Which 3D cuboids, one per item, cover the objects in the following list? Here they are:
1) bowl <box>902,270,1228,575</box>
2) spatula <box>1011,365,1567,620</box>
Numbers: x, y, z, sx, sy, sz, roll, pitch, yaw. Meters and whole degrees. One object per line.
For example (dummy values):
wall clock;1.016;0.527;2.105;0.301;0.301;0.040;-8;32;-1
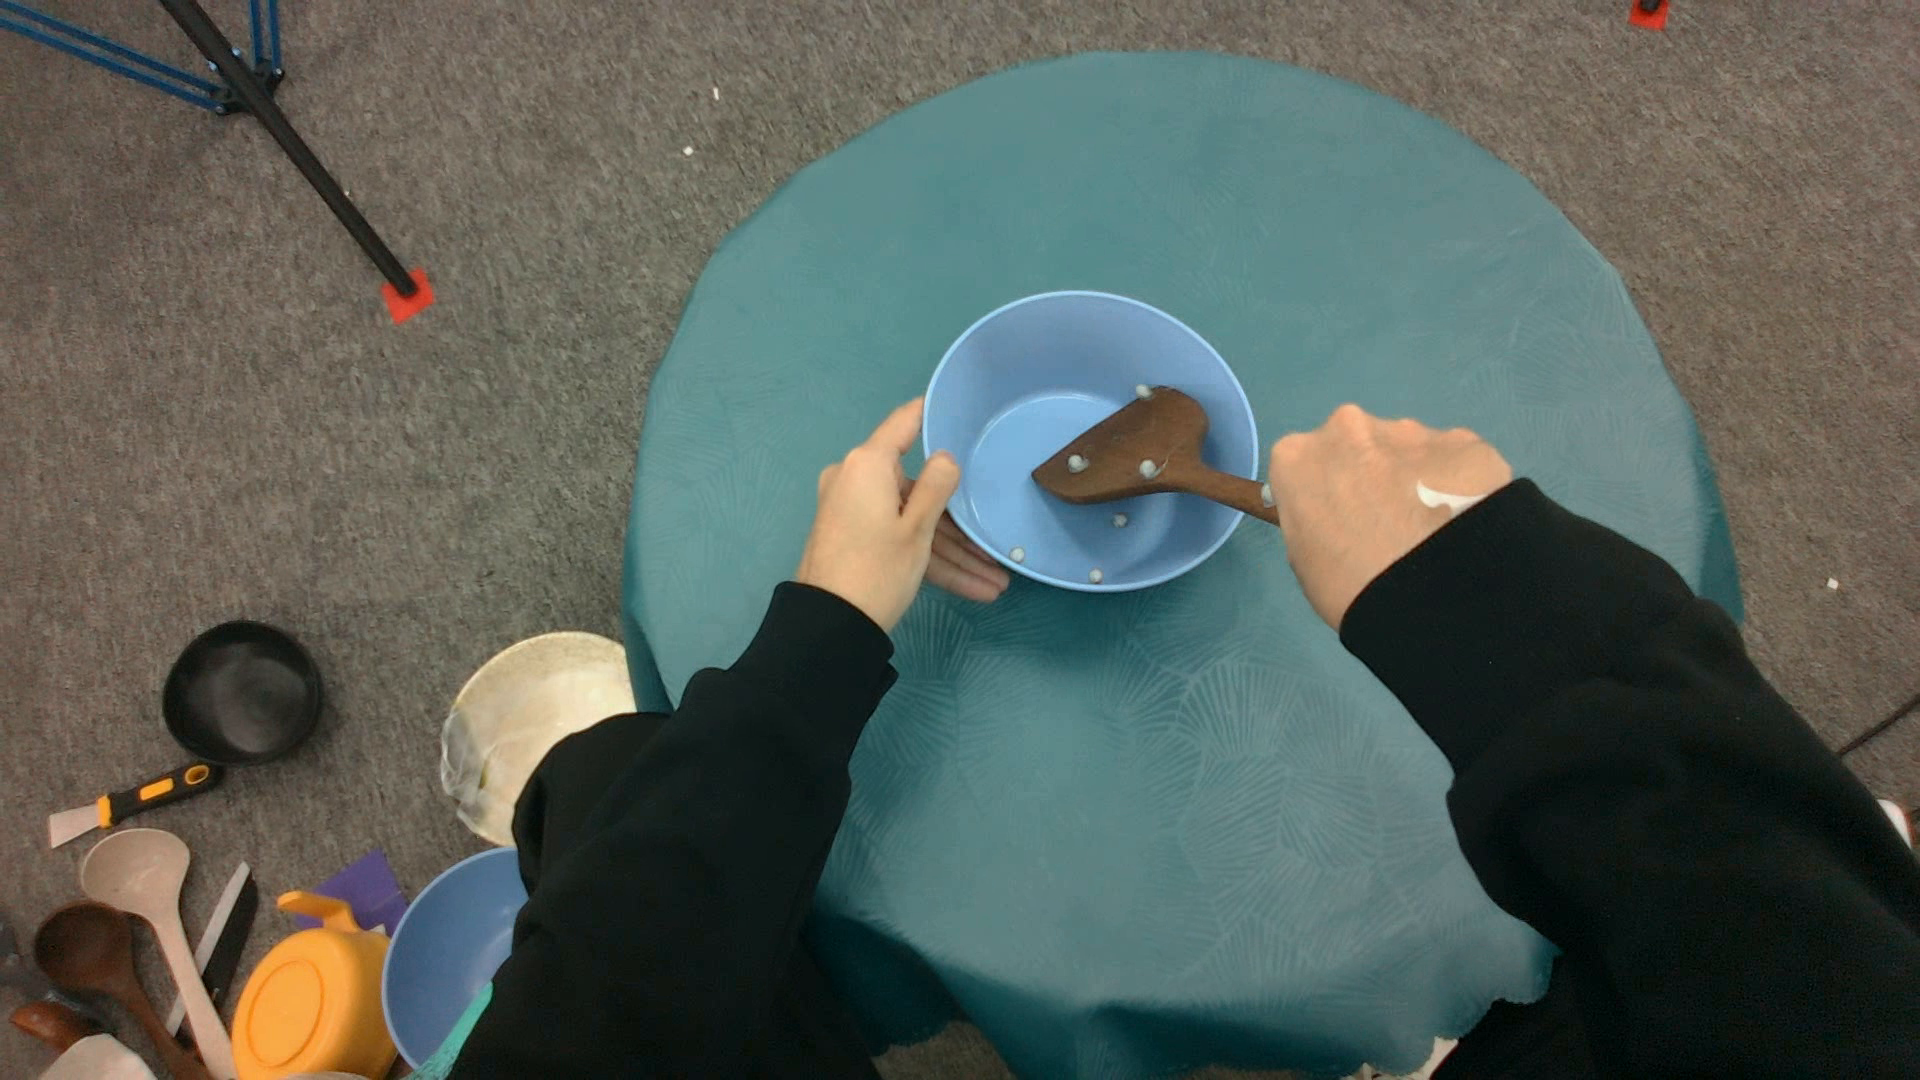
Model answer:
bowl;0.051;-0.053;0.742;0.176;0.070;0.176;4;67;-10
spatula;0.121;-0.027;0.597;0.096;0.386;0.016;-33;111;-8
